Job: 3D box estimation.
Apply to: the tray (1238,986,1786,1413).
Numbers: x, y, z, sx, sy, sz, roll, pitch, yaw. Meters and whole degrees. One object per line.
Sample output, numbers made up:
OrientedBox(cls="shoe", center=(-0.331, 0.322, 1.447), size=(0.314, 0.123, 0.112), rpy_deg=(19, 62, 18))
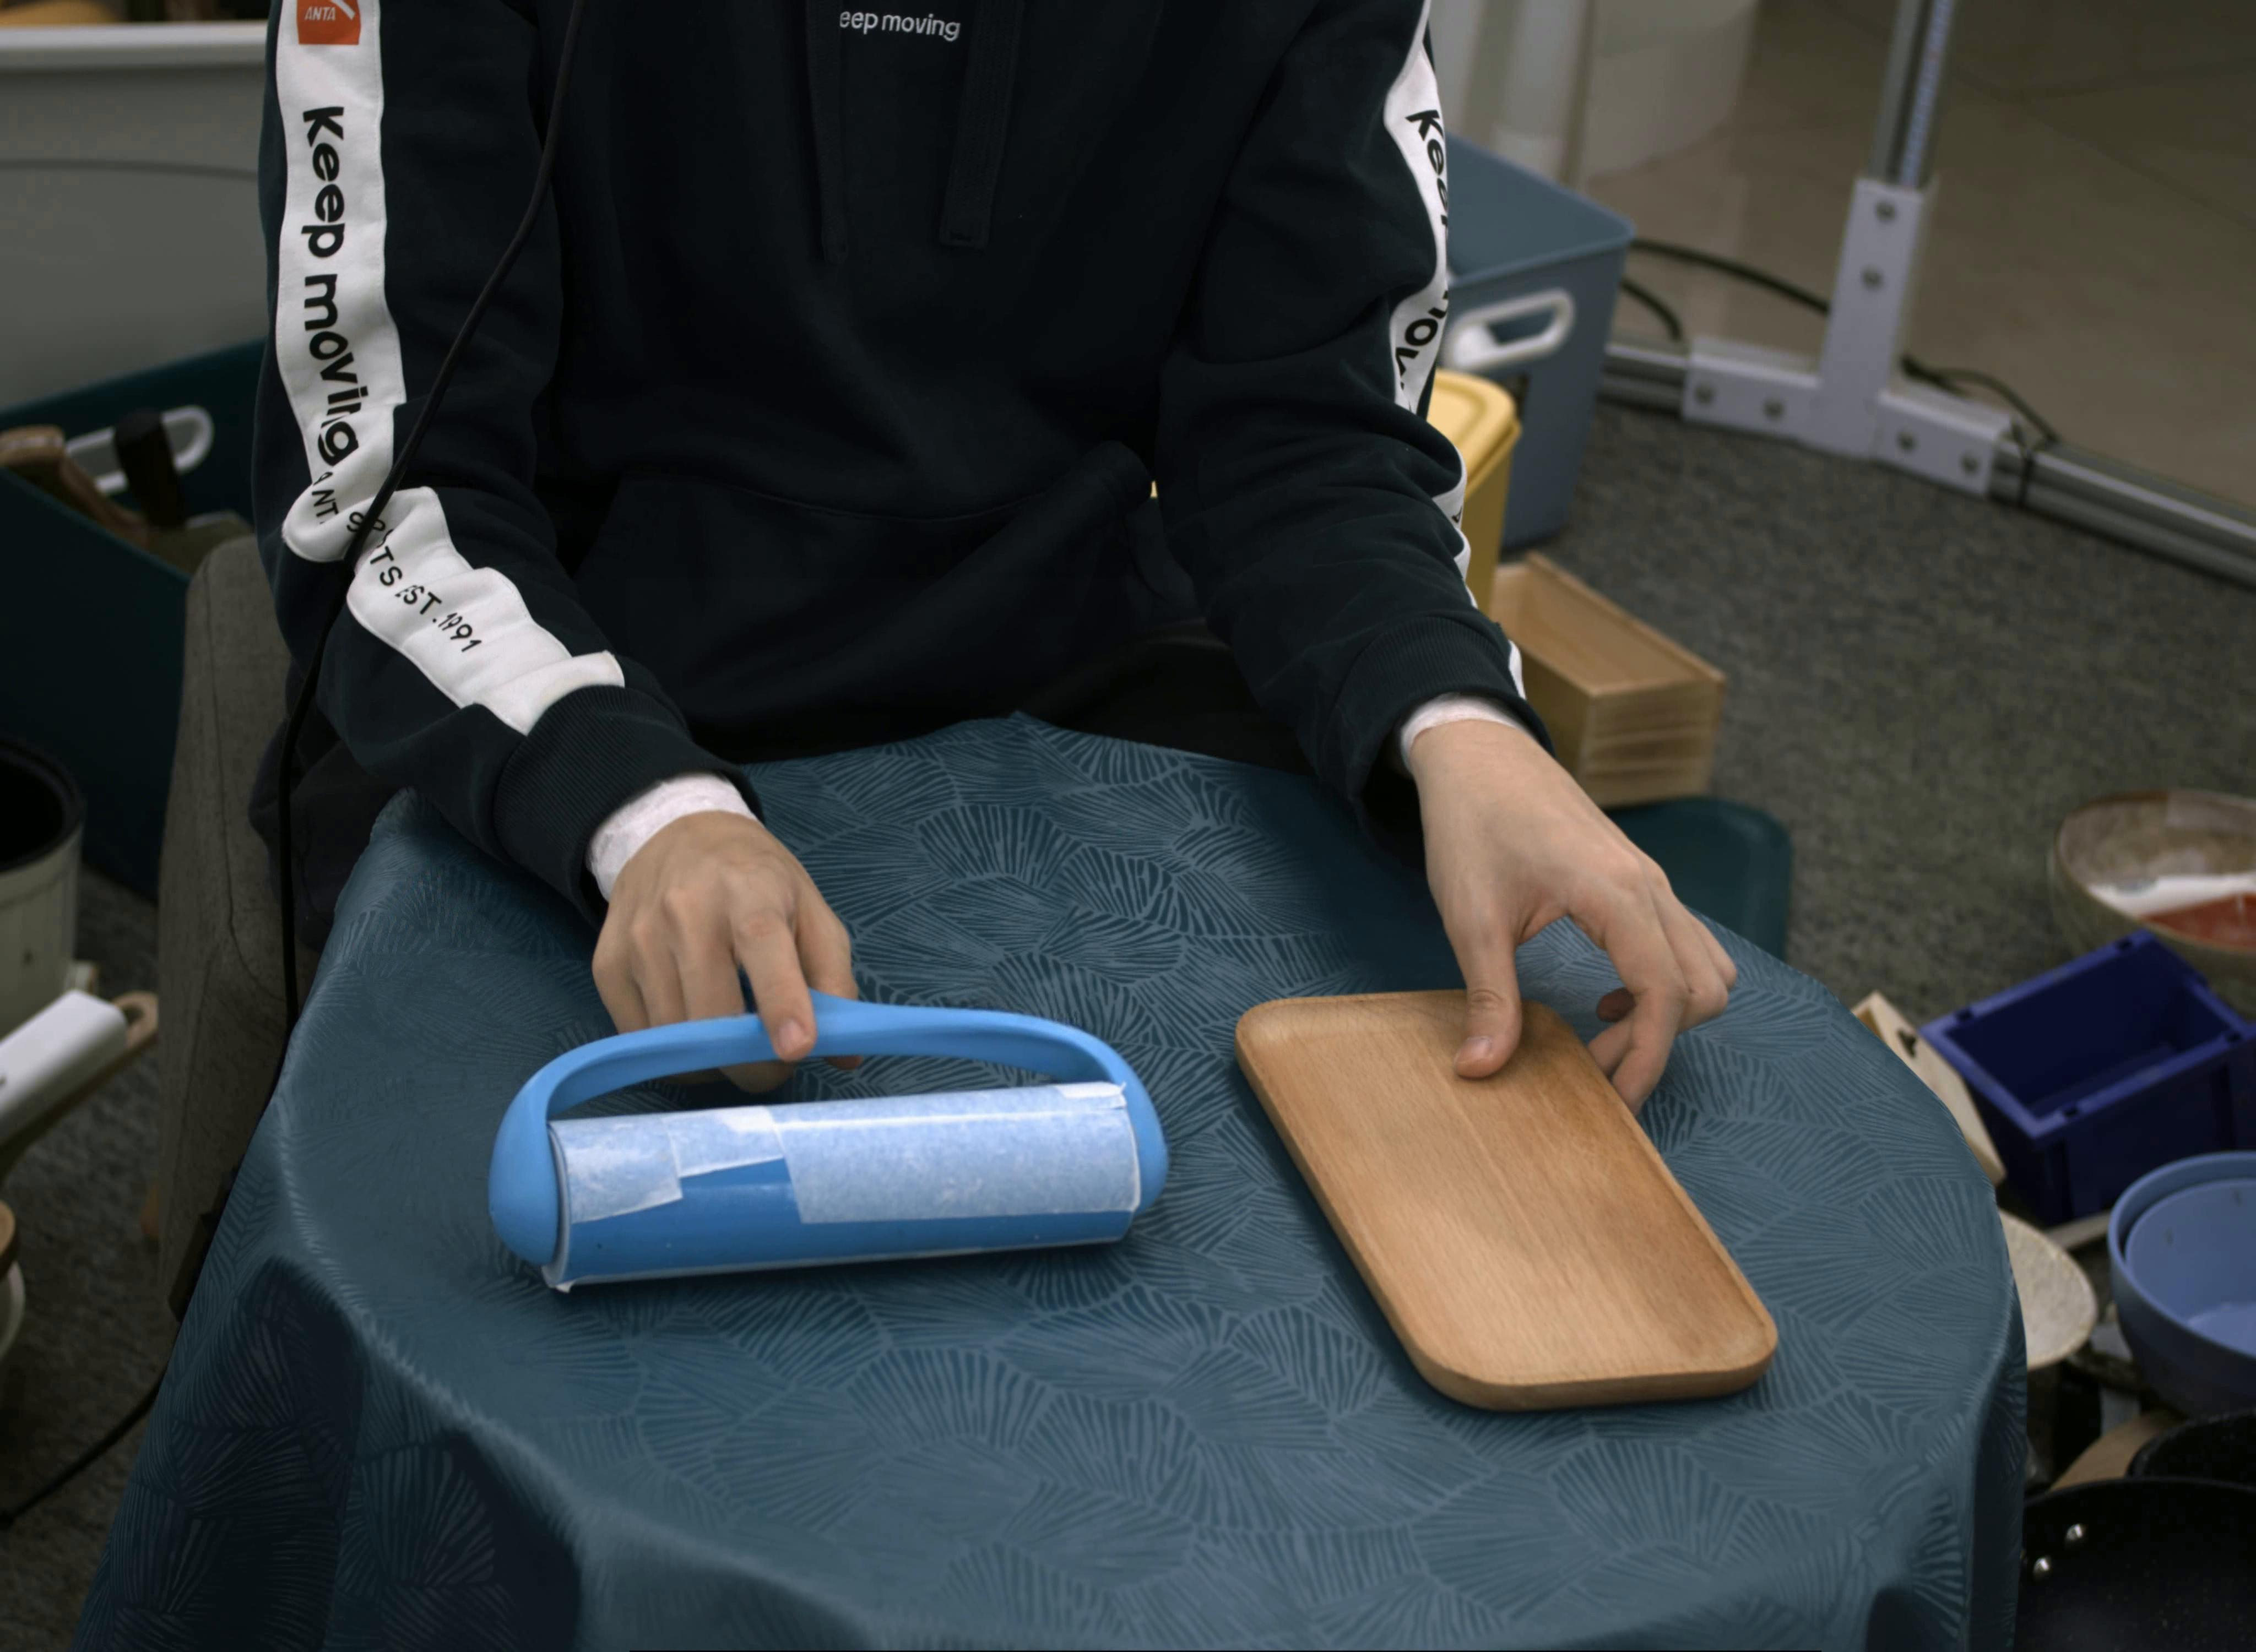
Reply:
OrientedBox(cls="tray", center=(0.126, 0.124, 1.807), size=(0.130, 0.023, 0.253), rpy_deg=(0, 27, -17))

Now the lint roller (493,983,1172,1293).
OrientedBox(cls="lint roller", center=(-0.115, 0.088, 1.780), size=(0.227, 0.067, 0.182), rpy_deg=(-6, 31, -20))
